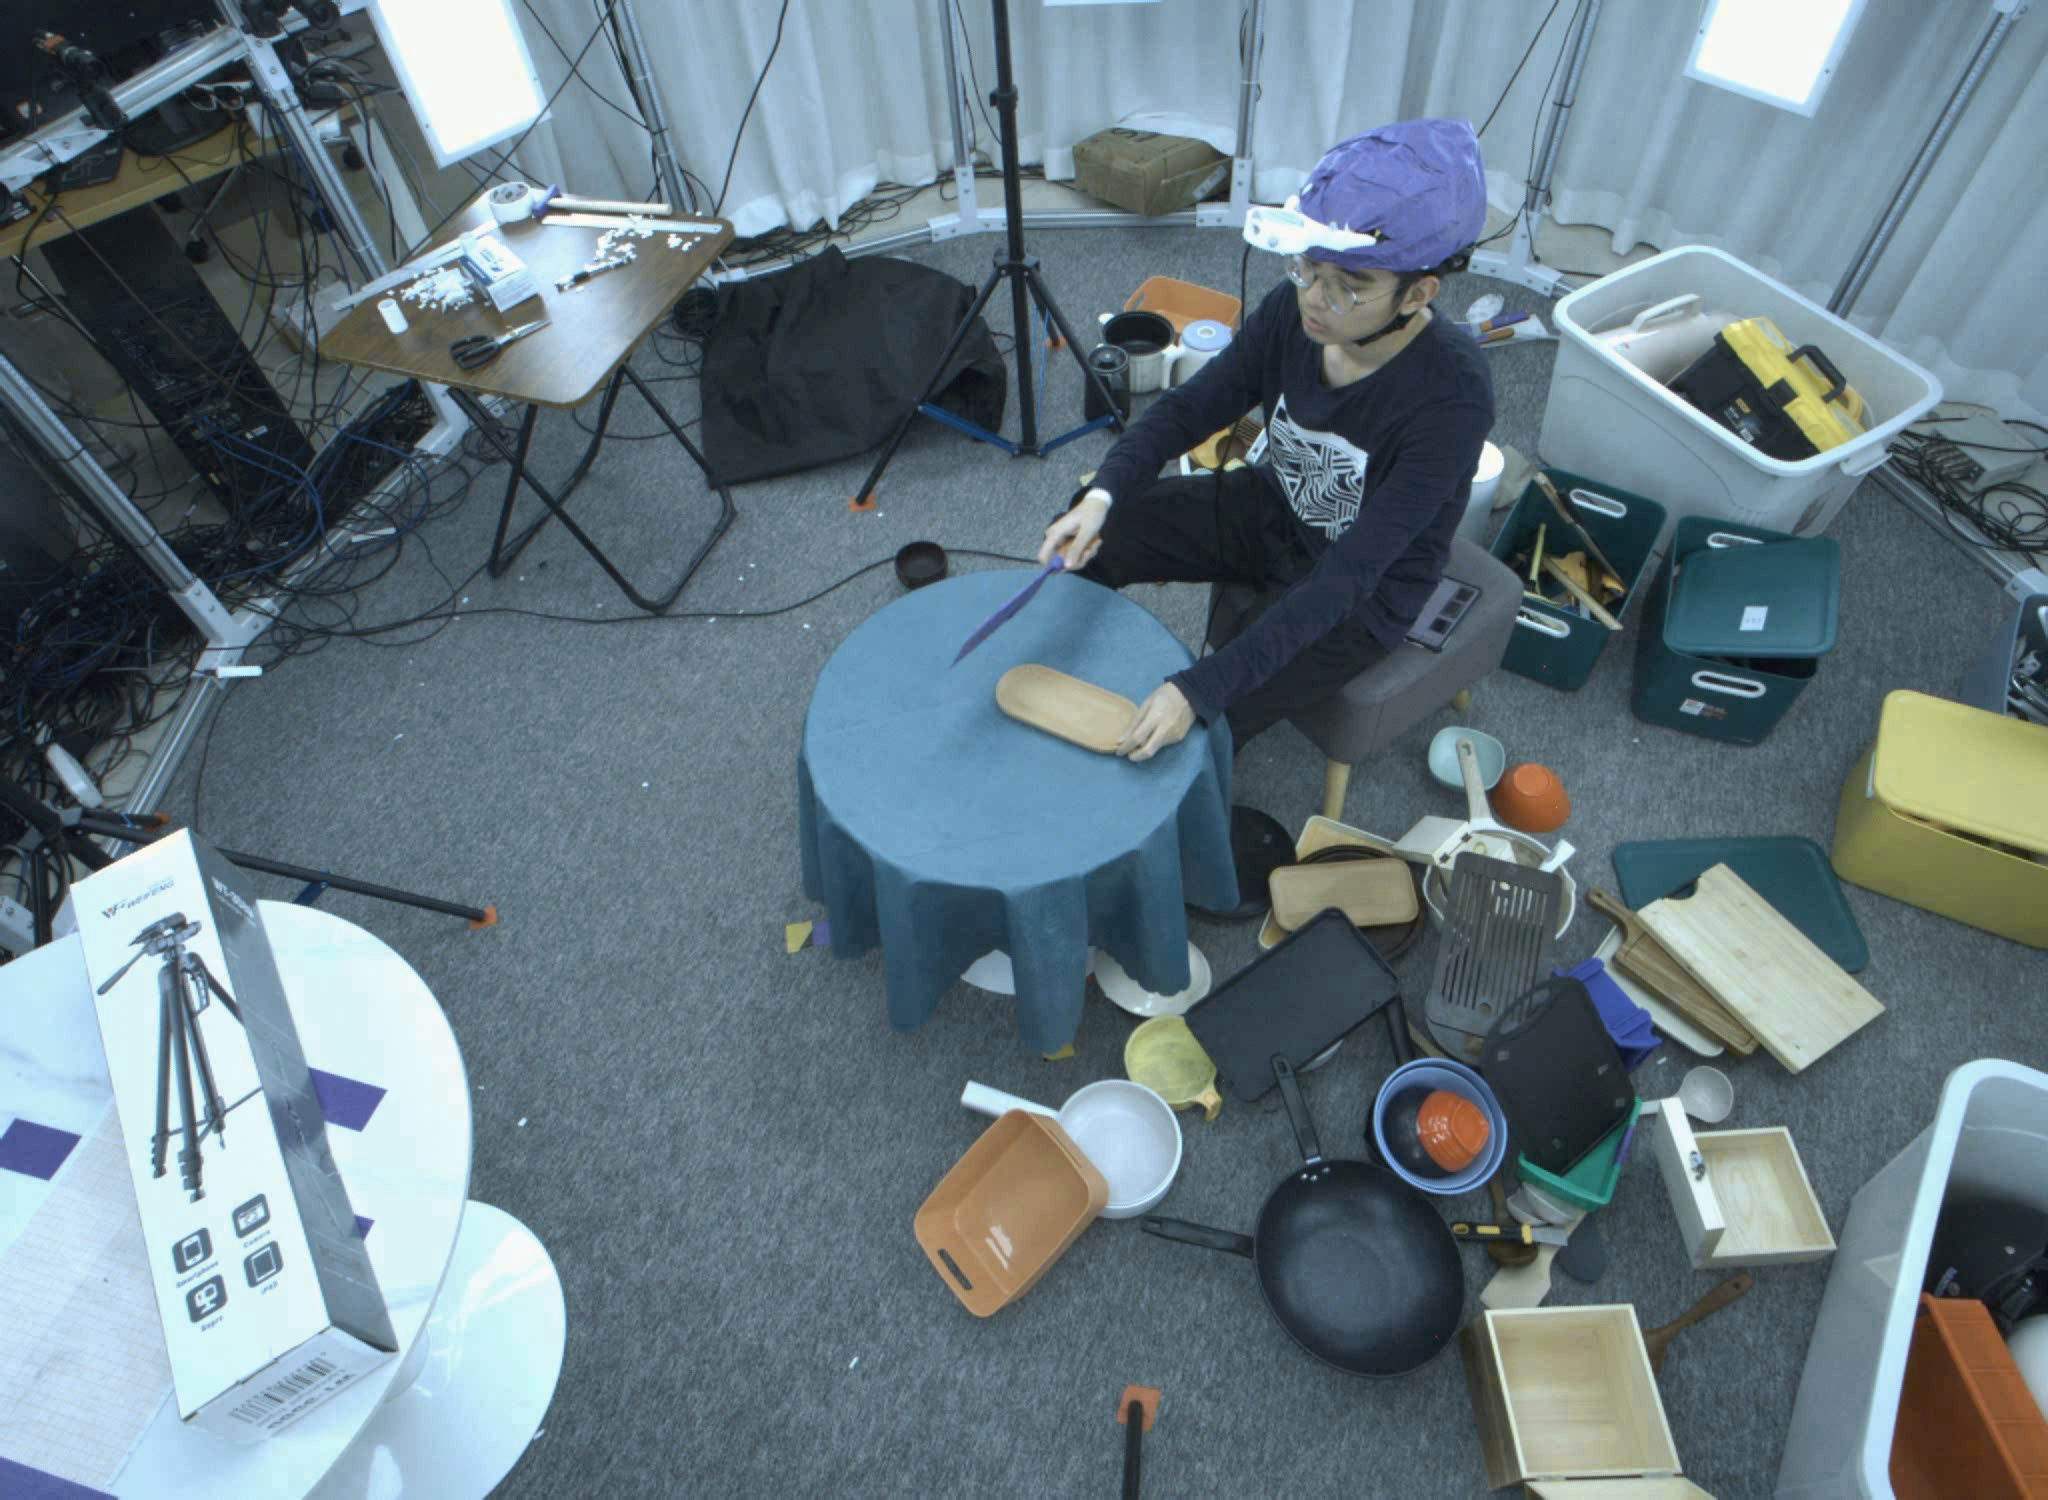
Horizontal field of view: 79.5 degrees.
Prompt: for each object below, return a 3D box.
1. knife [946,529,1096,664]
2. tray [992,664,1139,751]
[{"bbox_3d":[-0.008,-0.230,1.821,0.032,0.103,0.318,47,55,2],"label":"knife"},{"bbox_3d":[0.061,-0.064,1.828,0.228,0.020,0.102,21,58,18],"label":"tray"}]
